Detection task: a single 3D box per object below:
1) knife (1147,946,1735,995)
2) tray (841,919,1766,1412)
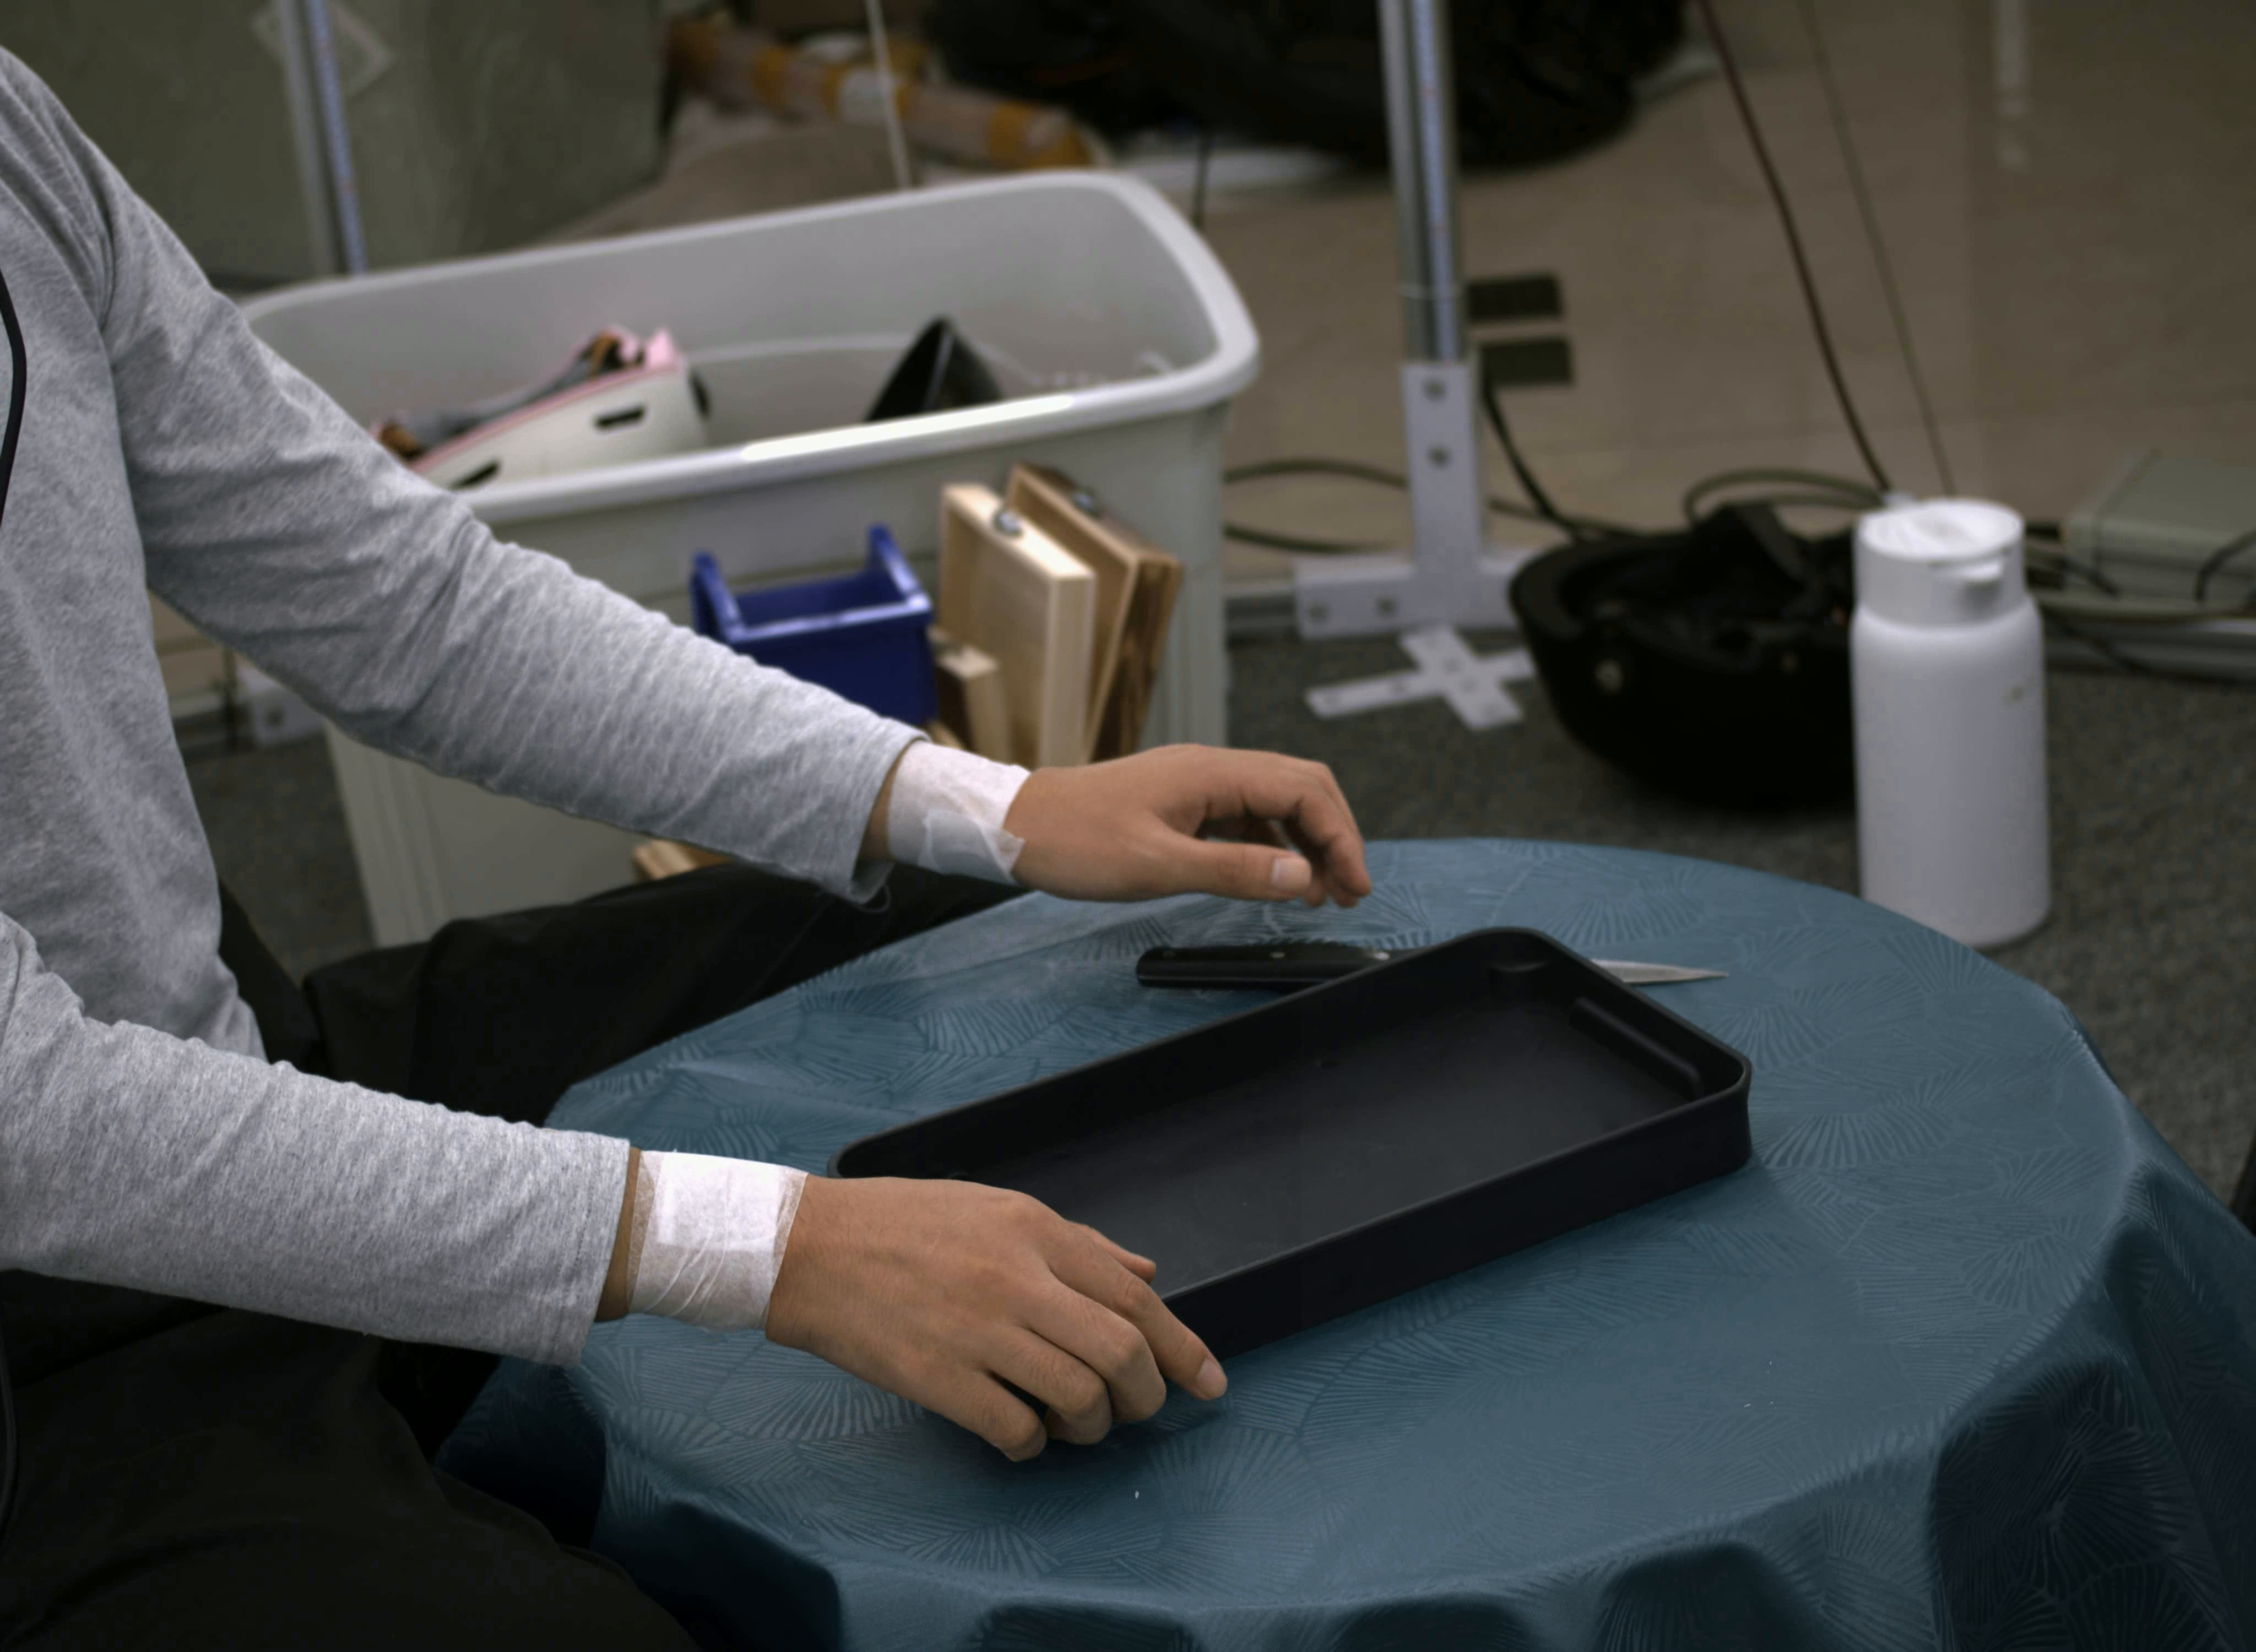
[{"bbox_3d":[0.125,0.058,2.281,0.238,0.016,0.024,0,26,8],"label":"knife"},{"bbox_3d":[0.067,0.122,2.129,0.316,0.037,0.182,-19,27,-24],"label":"tray"}]
